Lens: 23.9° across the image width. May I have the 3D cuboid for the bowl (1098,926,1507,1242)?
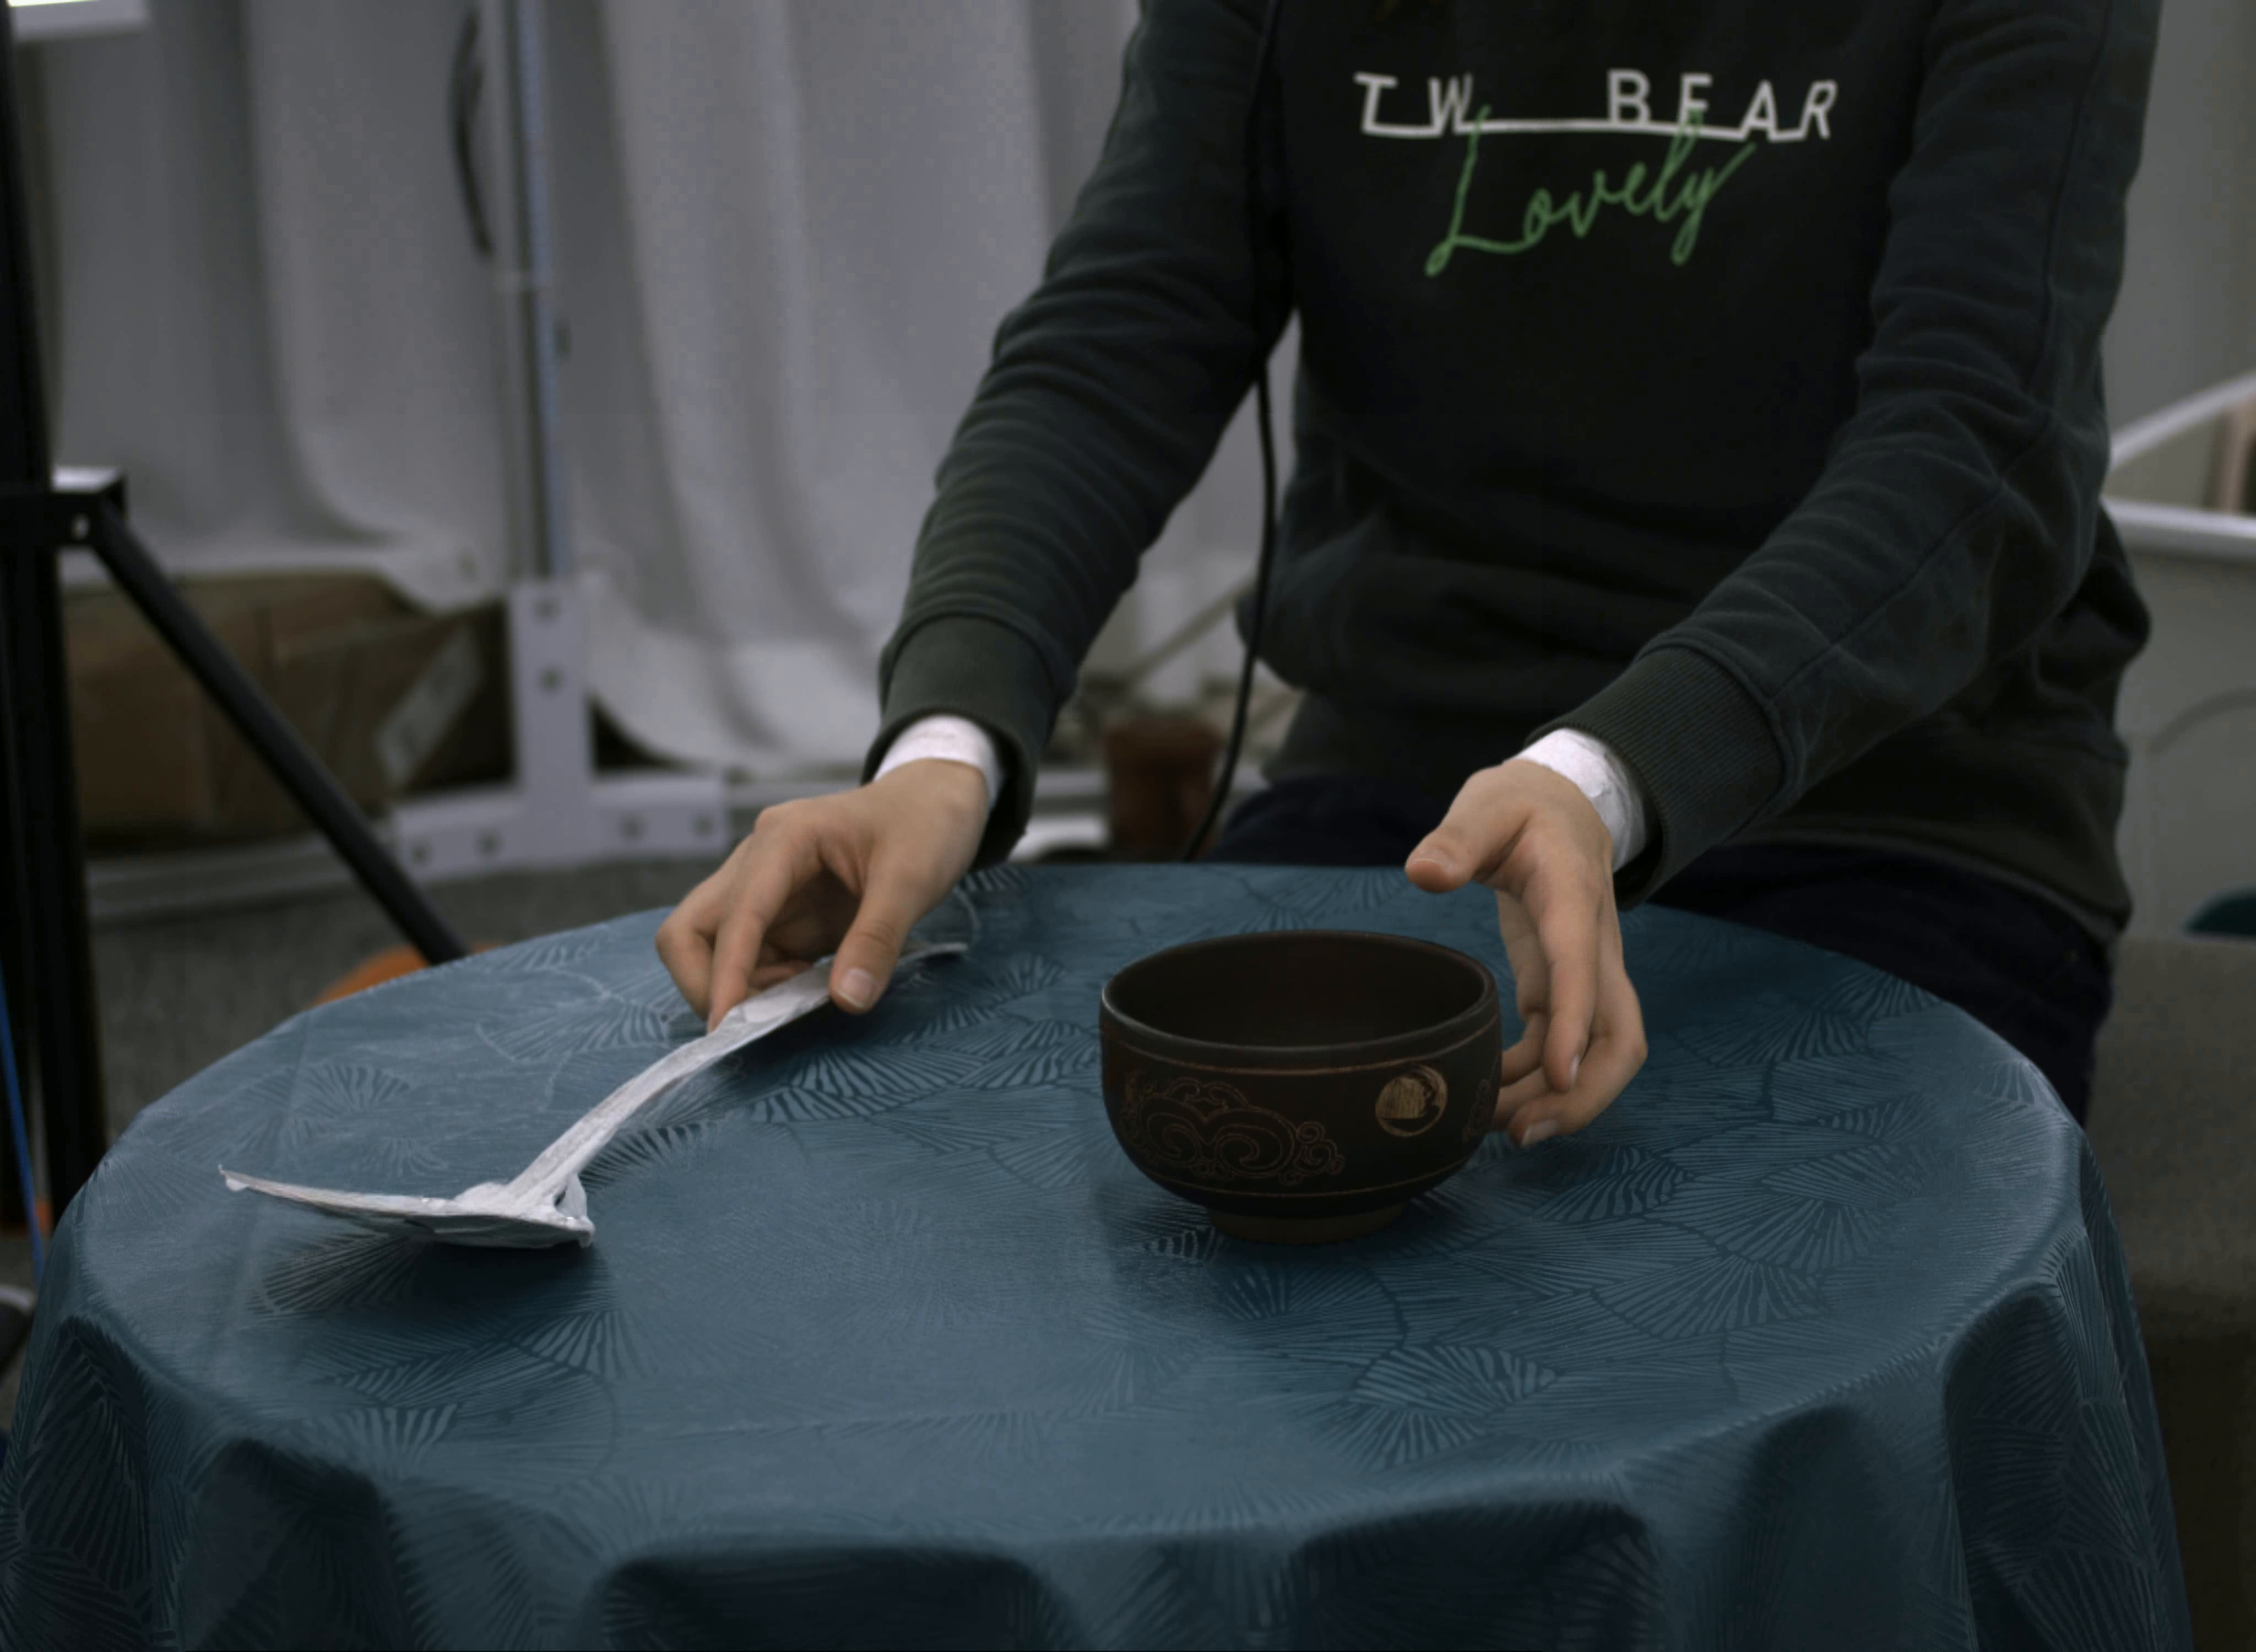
[{"bbox_3d":[0.050,0.078,1.526,0.117,0.070,0.118,-1,15,-1],"label":"bowl"}]

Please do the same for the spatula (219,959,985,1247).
[{"bbox_3d":[-0.139,0.075,1.630,0.100,0.045,0.359,4,17,27],"label":"spatula"}]
